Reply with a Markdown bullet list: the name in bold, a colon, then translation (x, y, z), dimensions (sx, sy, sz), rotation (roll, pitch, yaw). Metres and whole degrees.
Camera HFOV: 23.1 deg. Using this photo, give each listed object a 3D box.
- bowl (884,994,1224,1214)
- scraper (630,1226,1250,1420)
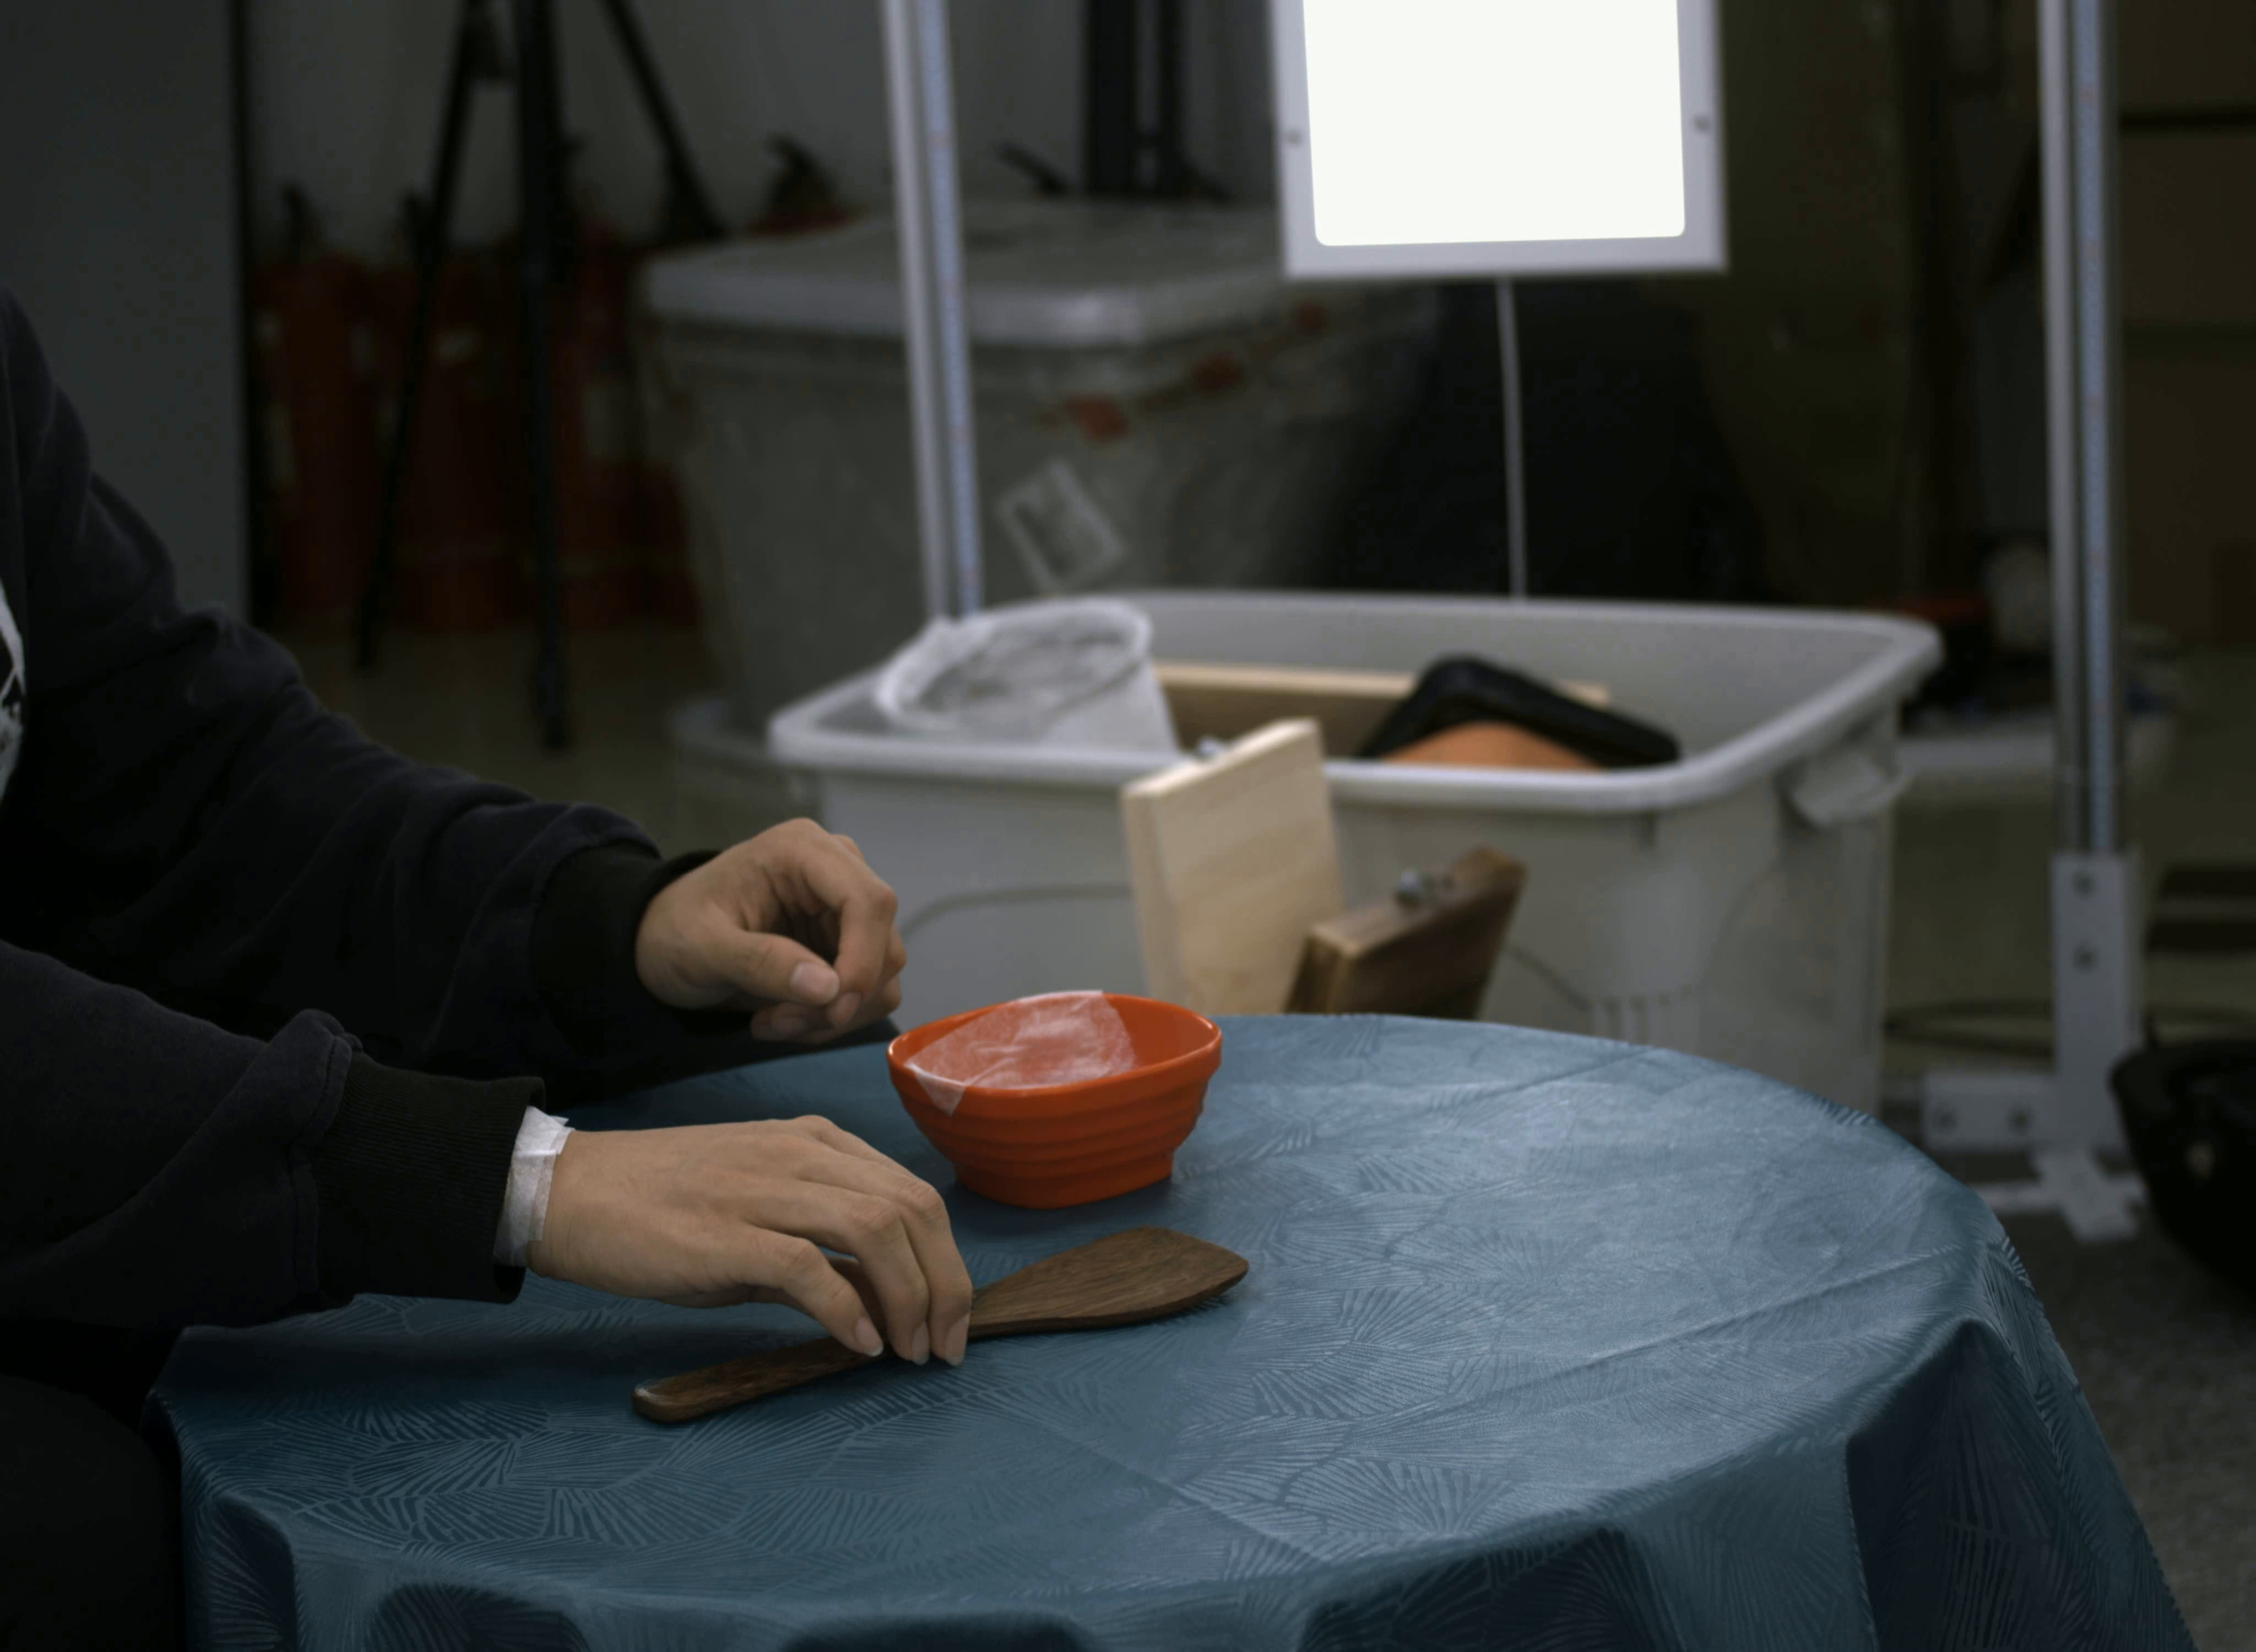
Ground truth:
- **bowl**: translation (-0.024, 0.099, 1.917), dimensions (0.118, 0.051, 0.119), rotation (-4, 15, 0)
- **scraper**: translation (-0.062, 0.161, 1.761), dimensions (0.206, 0.011, 0.077), rotation (-13, 14, -28)
